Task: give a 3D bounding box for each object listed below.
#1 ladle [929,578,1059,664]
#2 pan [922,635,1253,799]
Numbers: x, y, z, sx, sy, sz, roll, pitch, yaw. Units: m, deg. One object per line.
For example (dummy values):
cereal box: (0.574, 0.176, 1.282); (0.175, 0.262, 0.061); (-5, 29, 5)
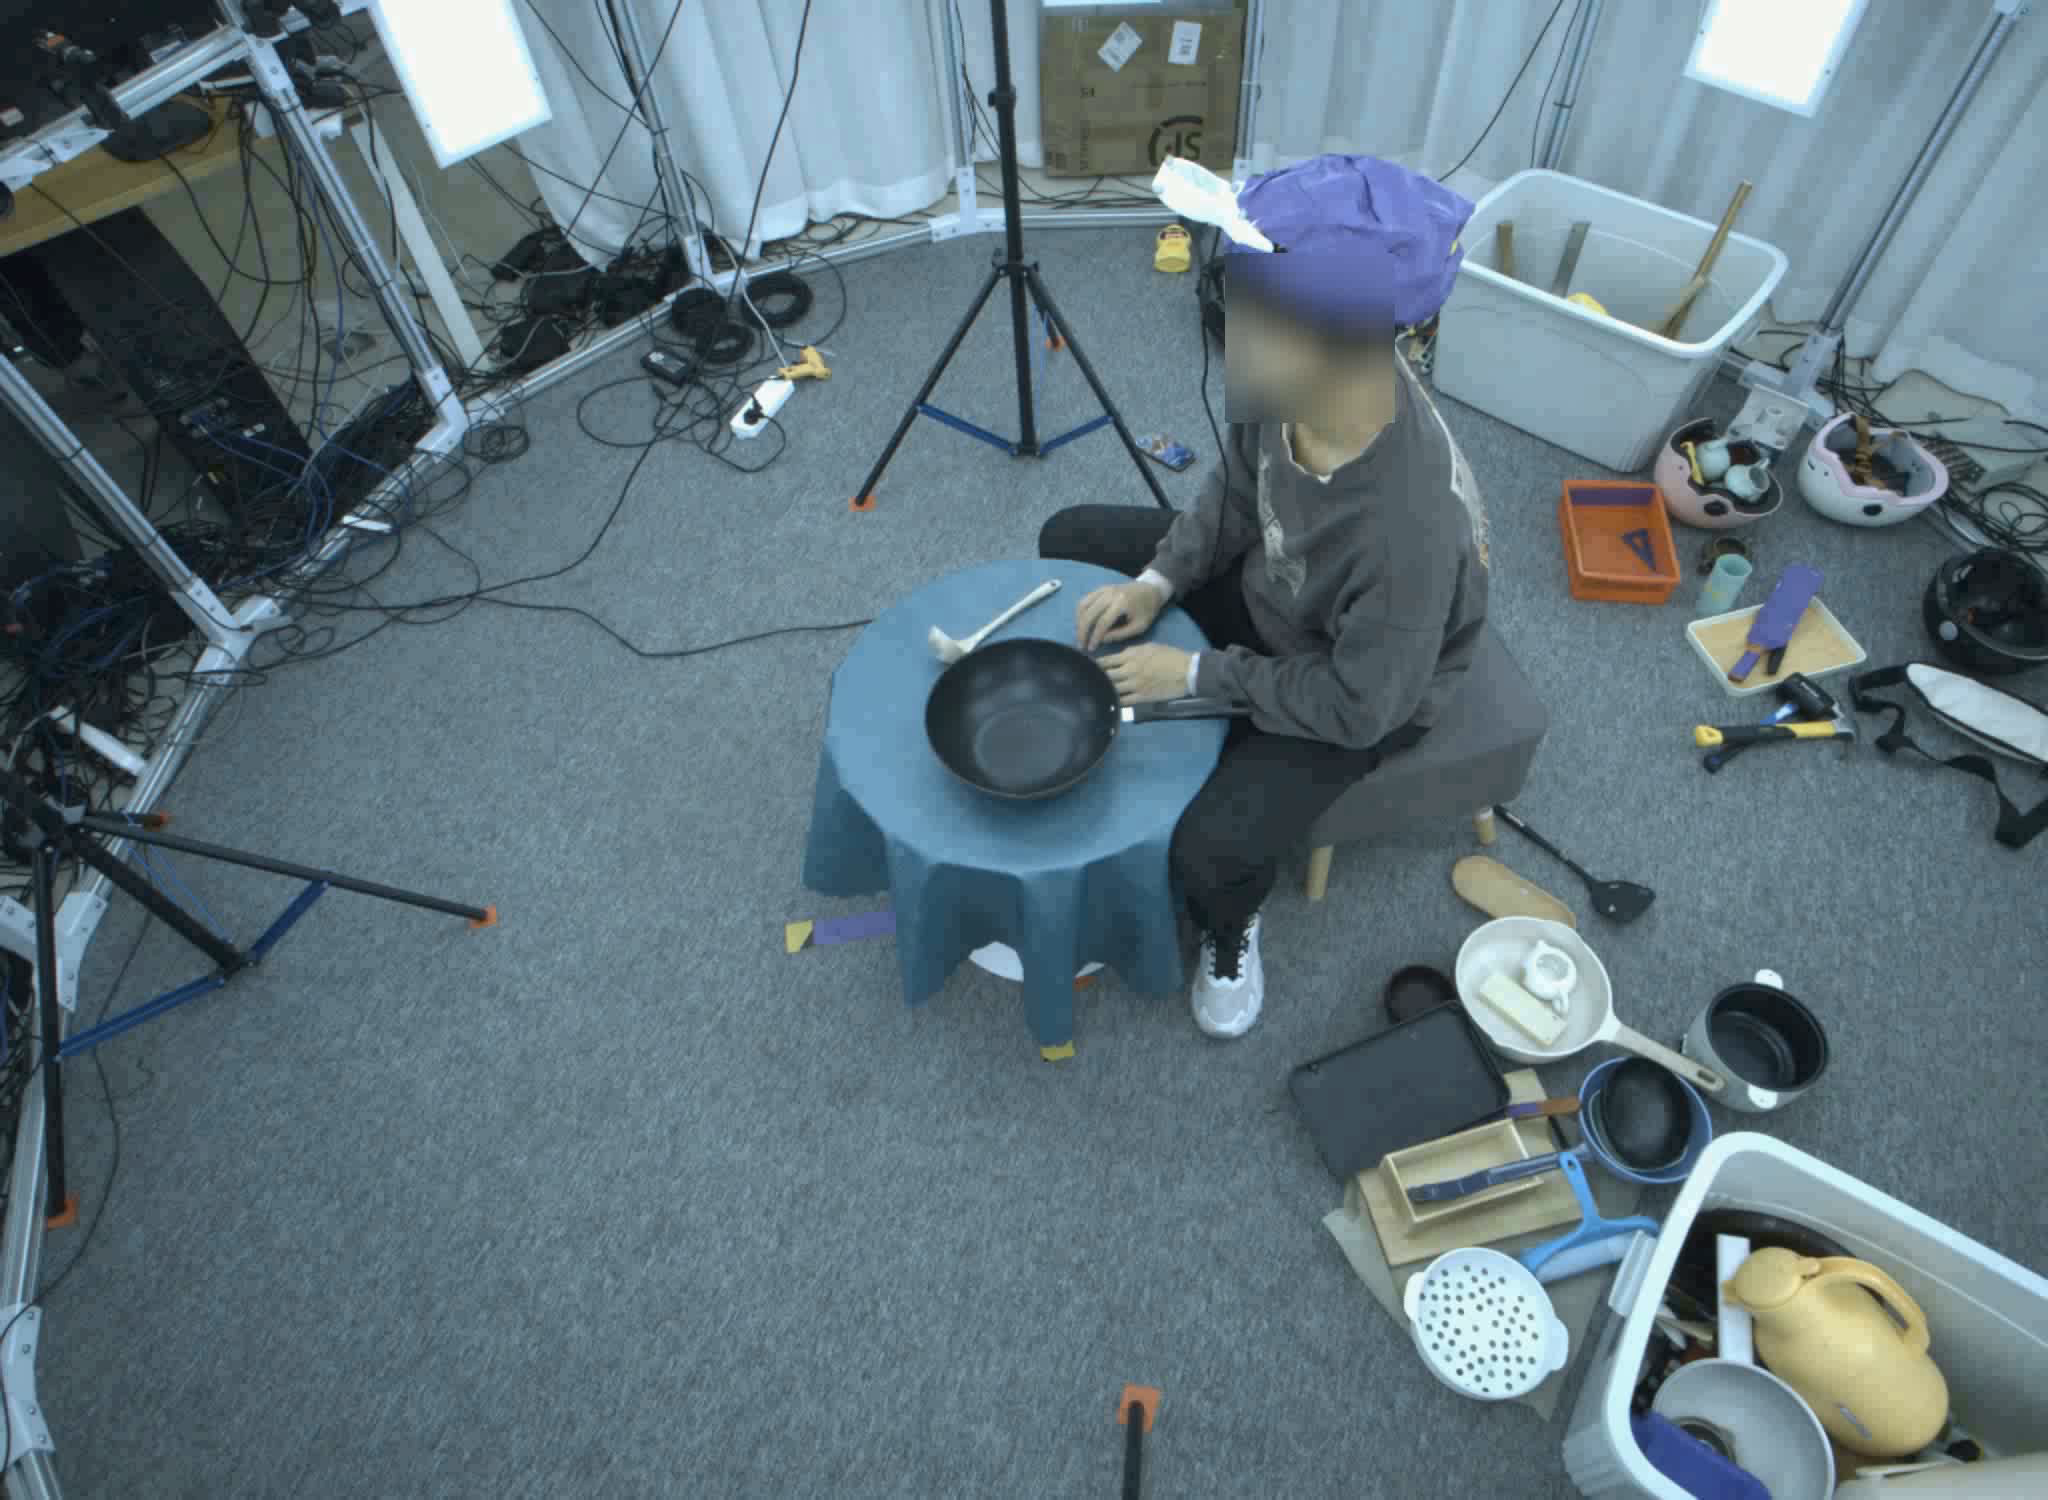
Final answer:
ladle: (-0.041, -0.223, 1.902); (0.256, 0.074, 0.070); (-40, 56, -23)
pan: (0.089, -0.035, 1.756); (0.463, 0.088, 0.285); (0, 54, 0)
